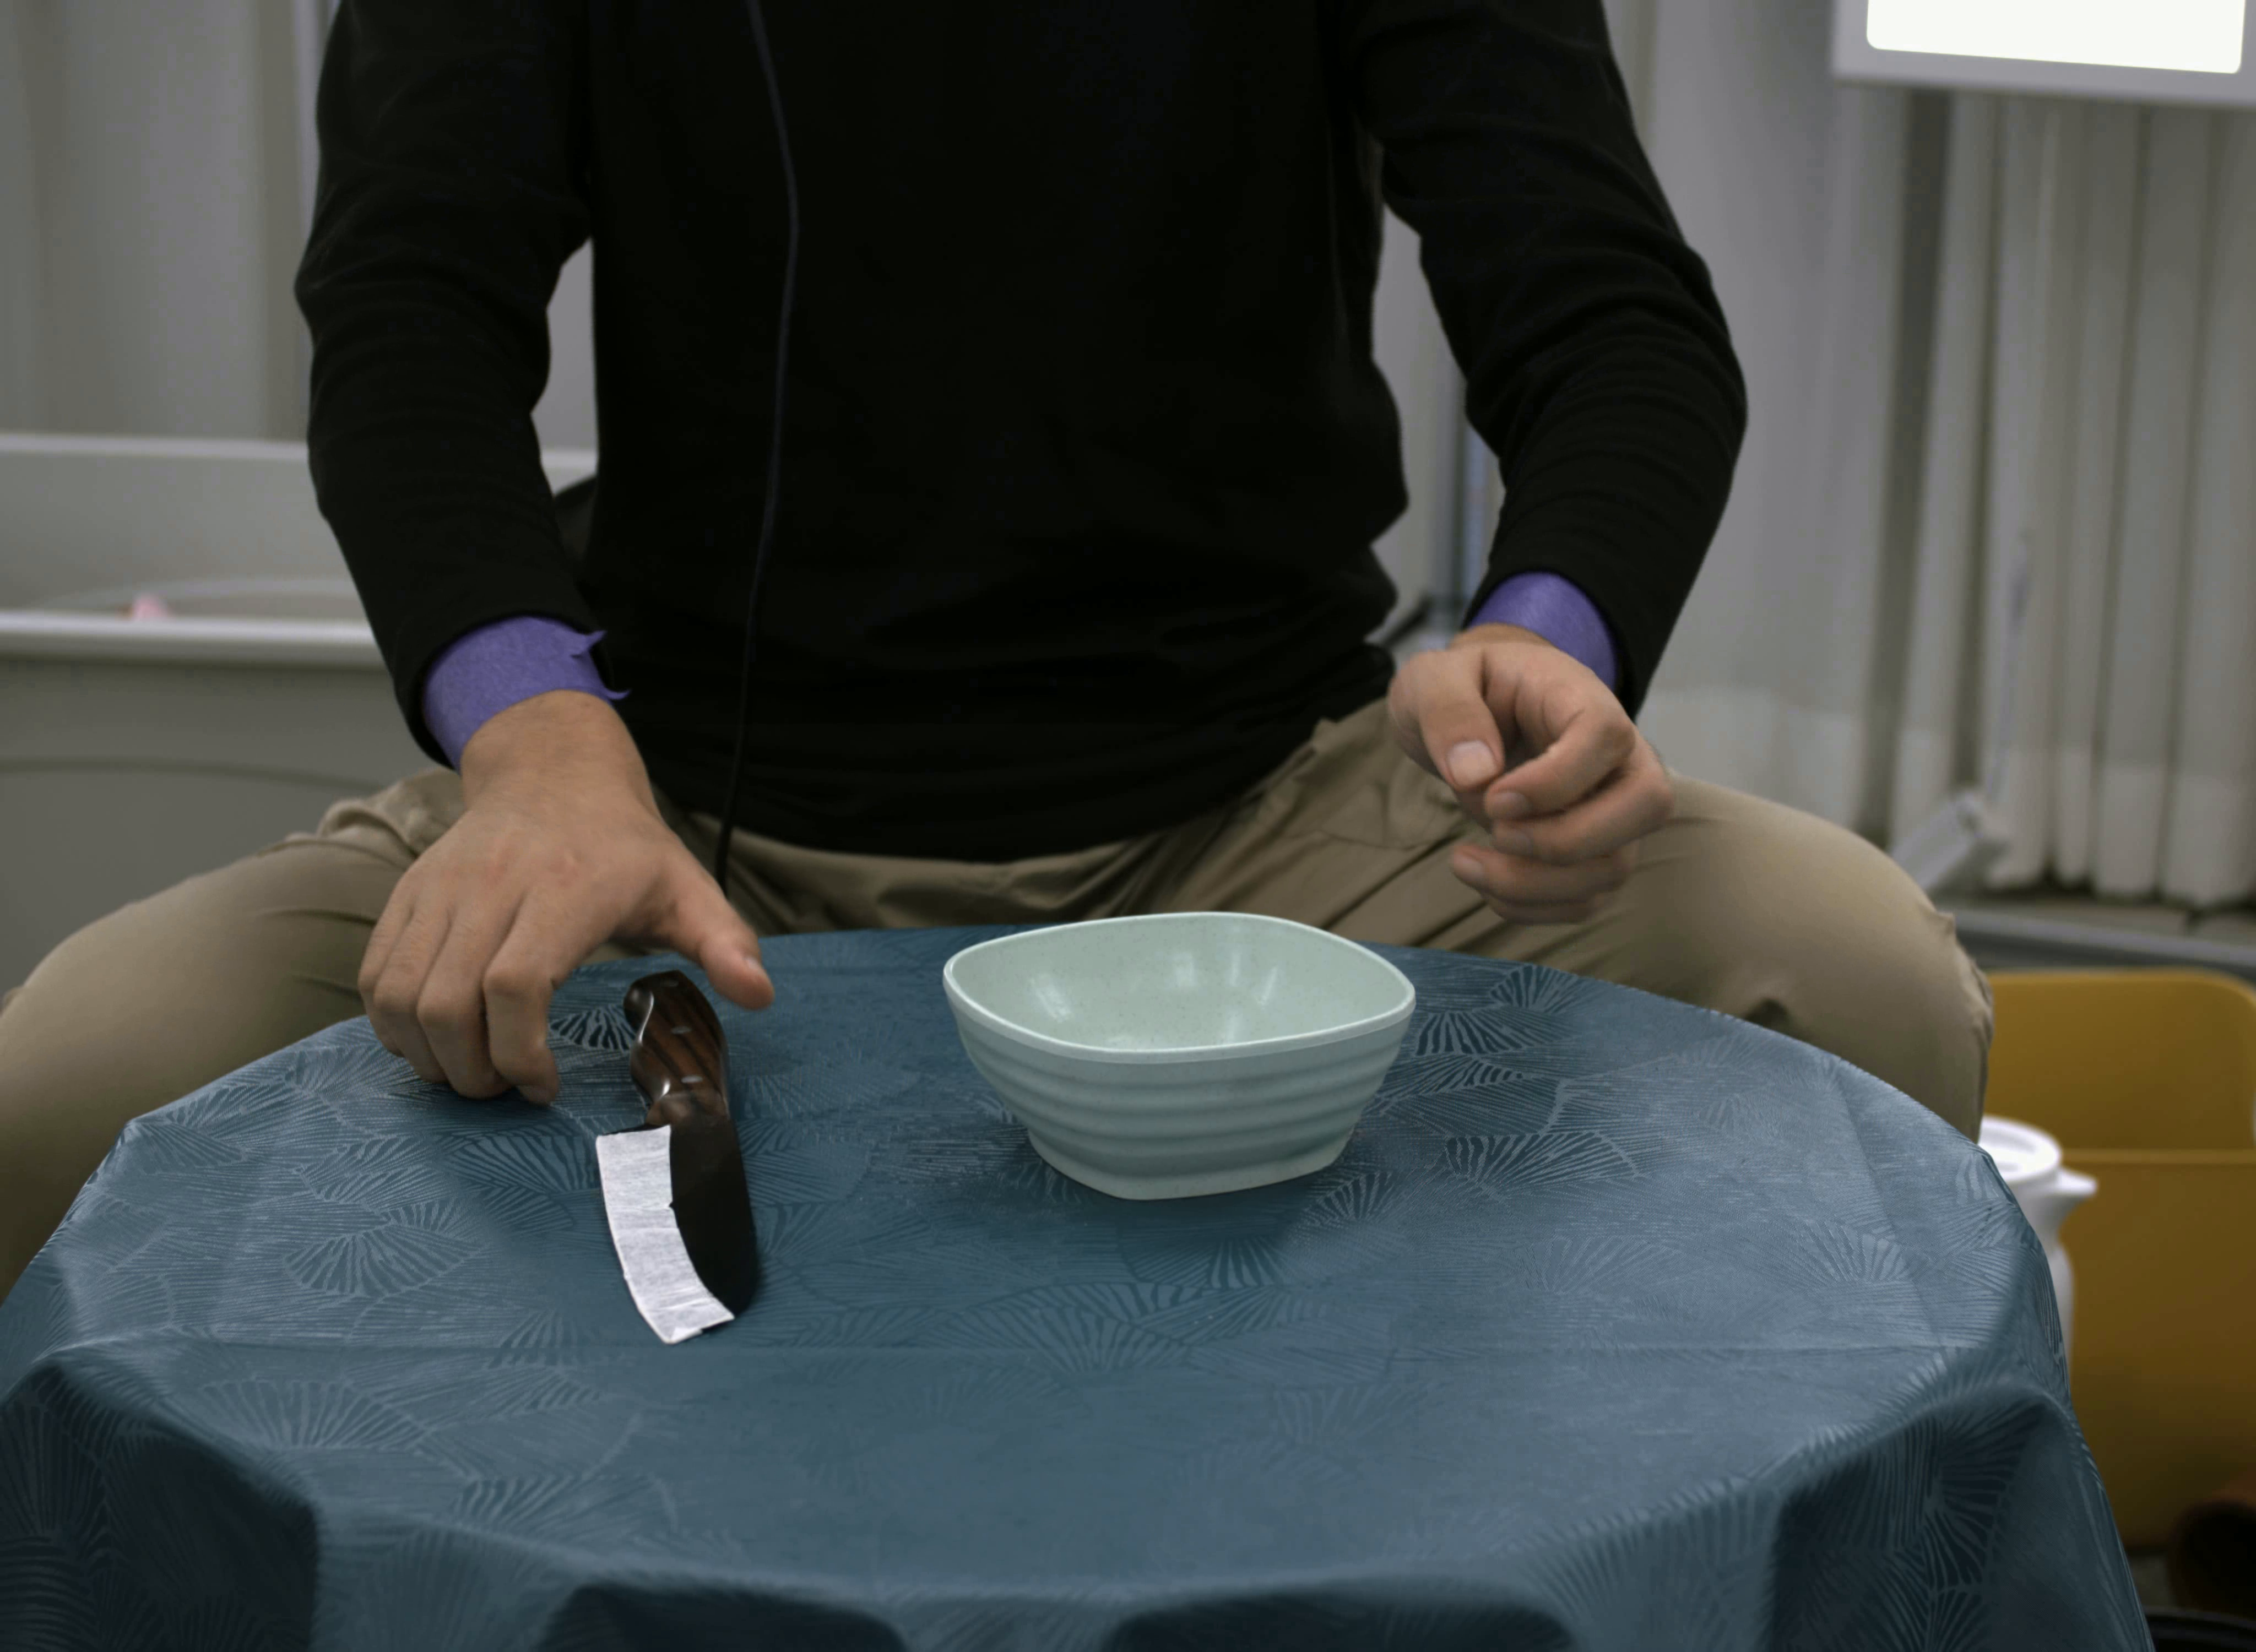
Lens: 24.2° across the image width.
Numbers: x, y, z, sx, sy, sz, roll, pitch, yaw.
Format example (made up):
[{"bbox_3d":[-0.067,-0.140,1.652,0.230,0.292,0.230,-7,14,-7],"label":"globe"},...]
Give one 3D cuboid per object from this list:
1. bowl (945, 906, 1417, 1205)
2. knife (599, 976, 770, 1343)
[{"bbox_3d":[0.016,0.075,1.652,0.151,0.059,0.150,1,17,0],"label":"bowl"},{"bbox_3d":[-0.139,0.102,1.628,0.050,0.020,0.287,-6,19,-4],"label":"knife"}]
